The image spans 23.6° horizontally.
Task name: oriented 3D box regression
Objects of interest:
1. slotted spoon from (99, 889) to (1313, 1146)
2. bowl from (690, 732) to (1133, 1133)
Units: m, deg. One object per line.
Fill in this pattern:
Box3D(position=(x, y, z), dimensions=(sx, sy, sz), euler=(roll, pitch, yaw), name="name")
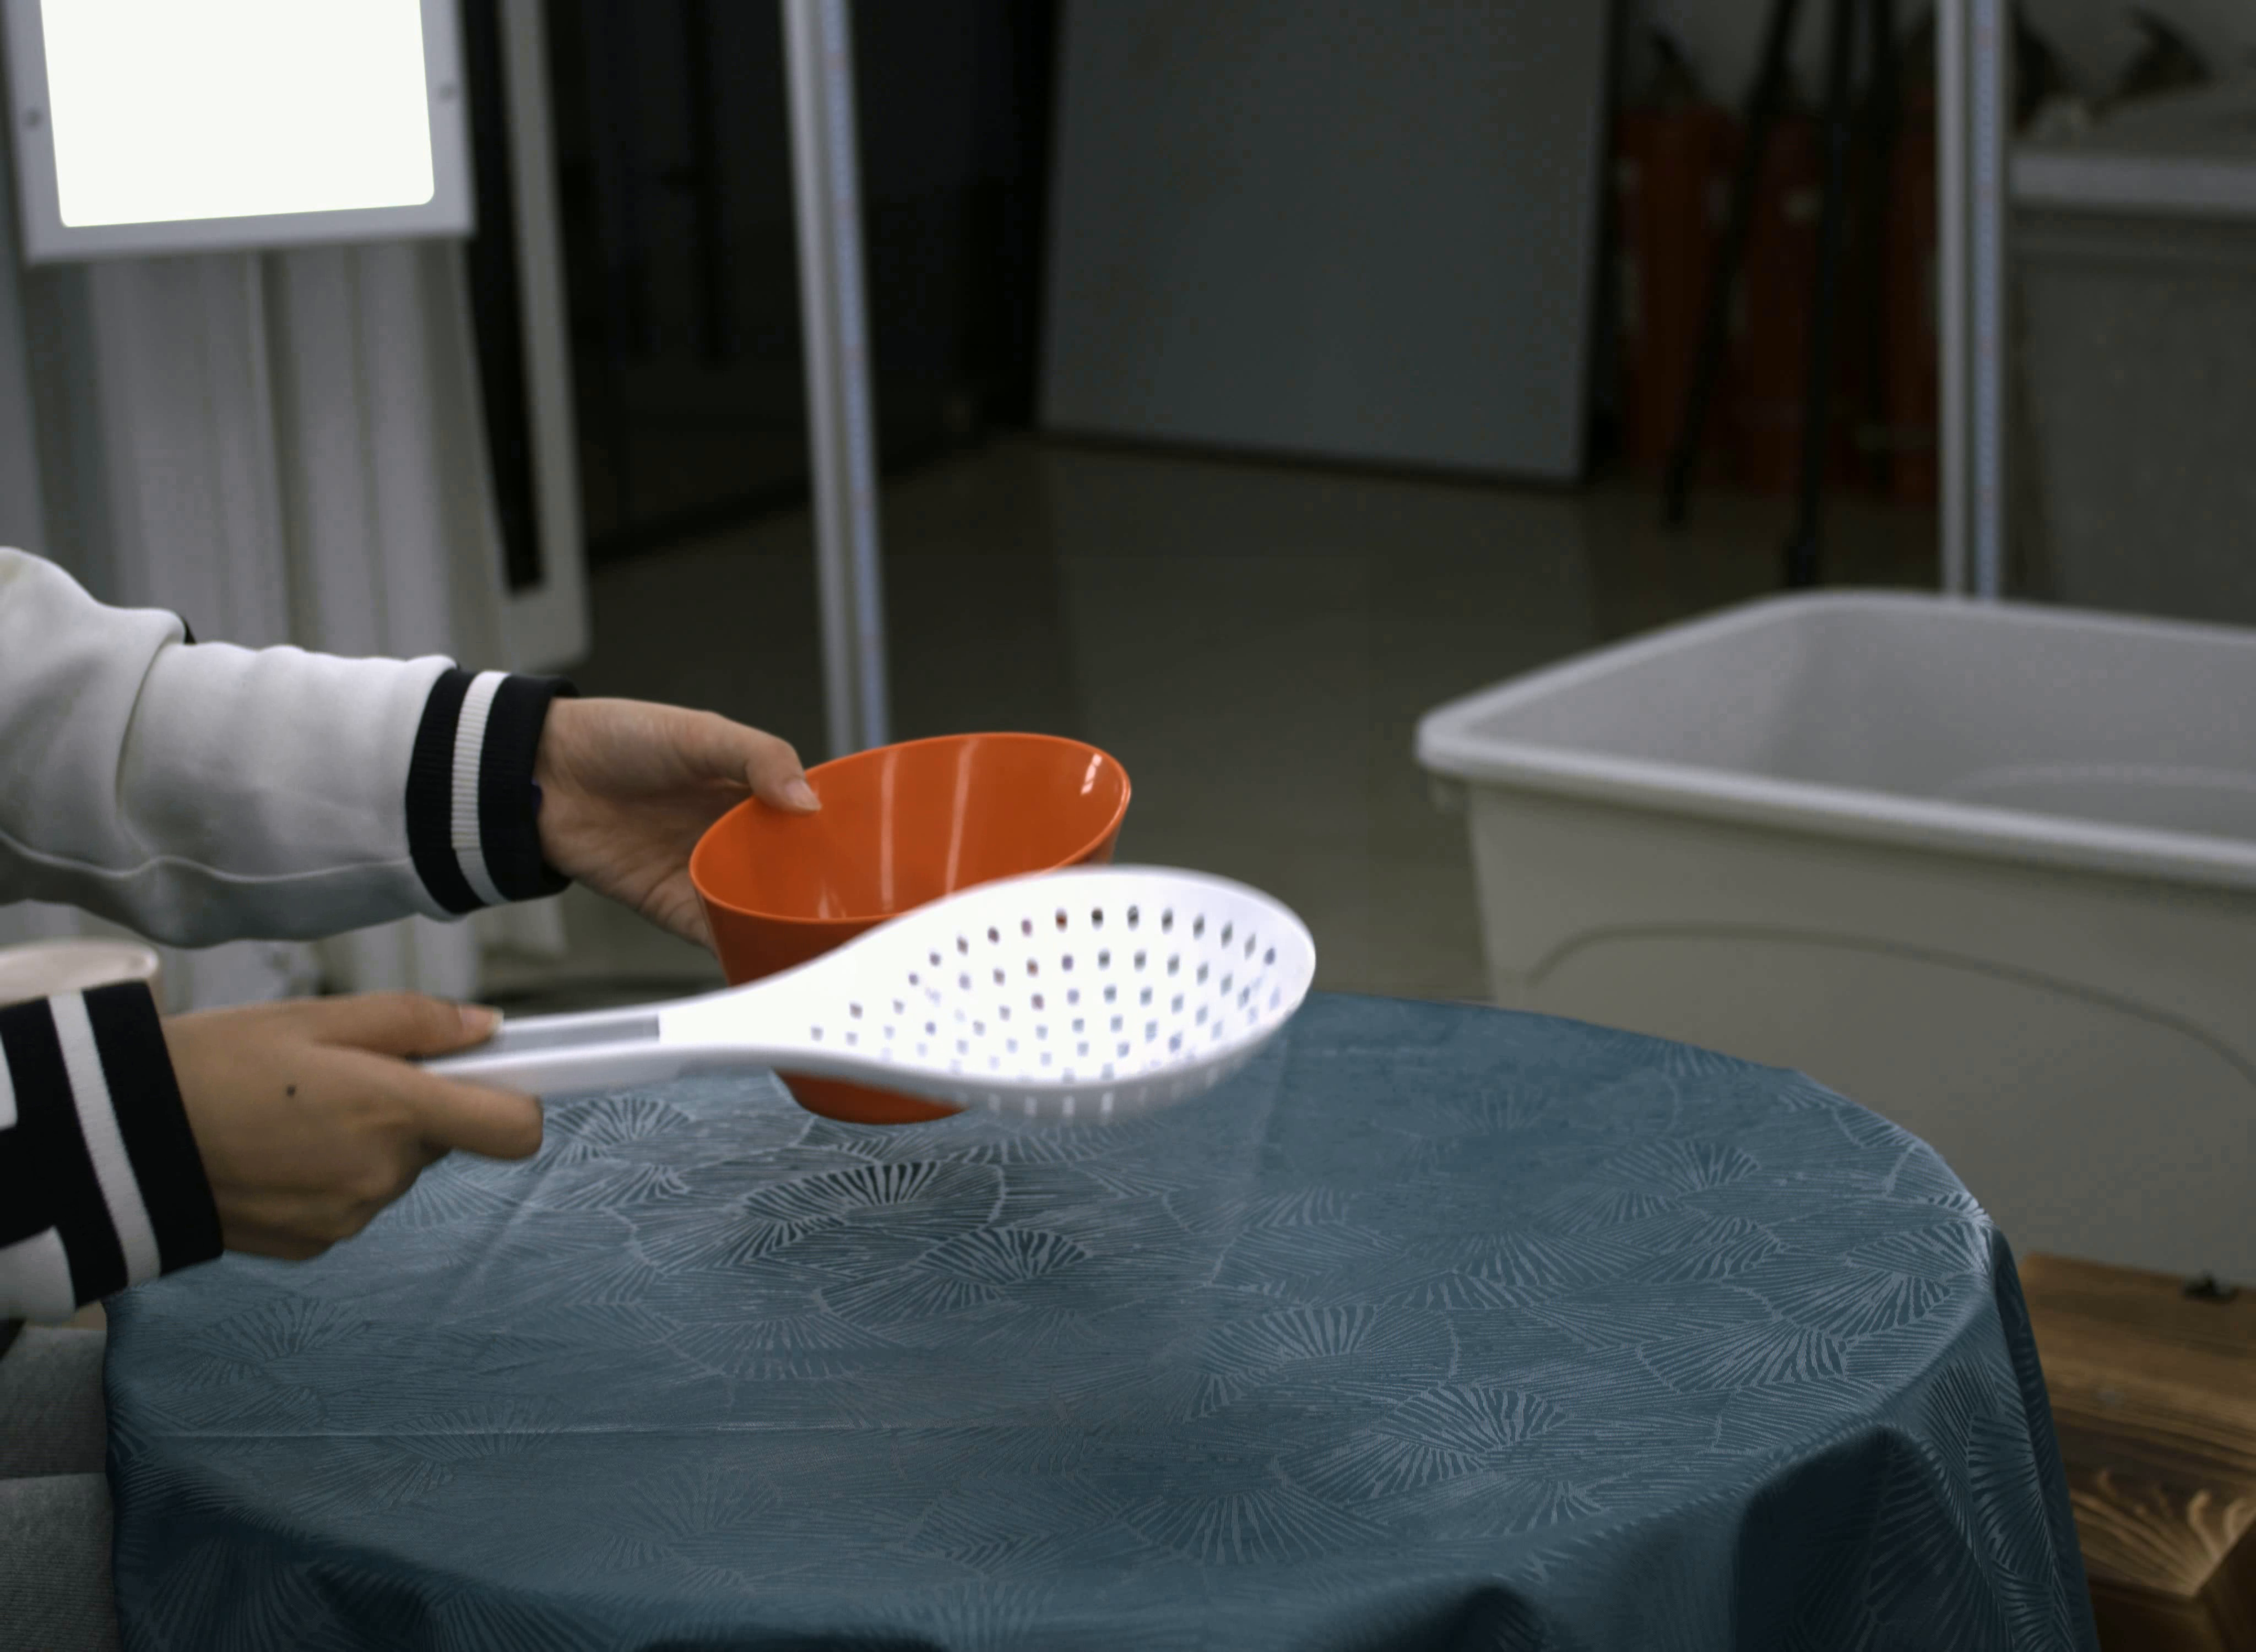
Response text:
Box3D(position=(-0.119, 0.064, 1.549), dimensions=(0.344, 0.046, 0.137), euler=(-1, 23, -5), name="slotted spoon")
Box3D(position=(-0.070, 0.039, 1.781), dimensions=(0.146, 0.106, 0.148), euler=(-2, 20, 0), name="bowl")
